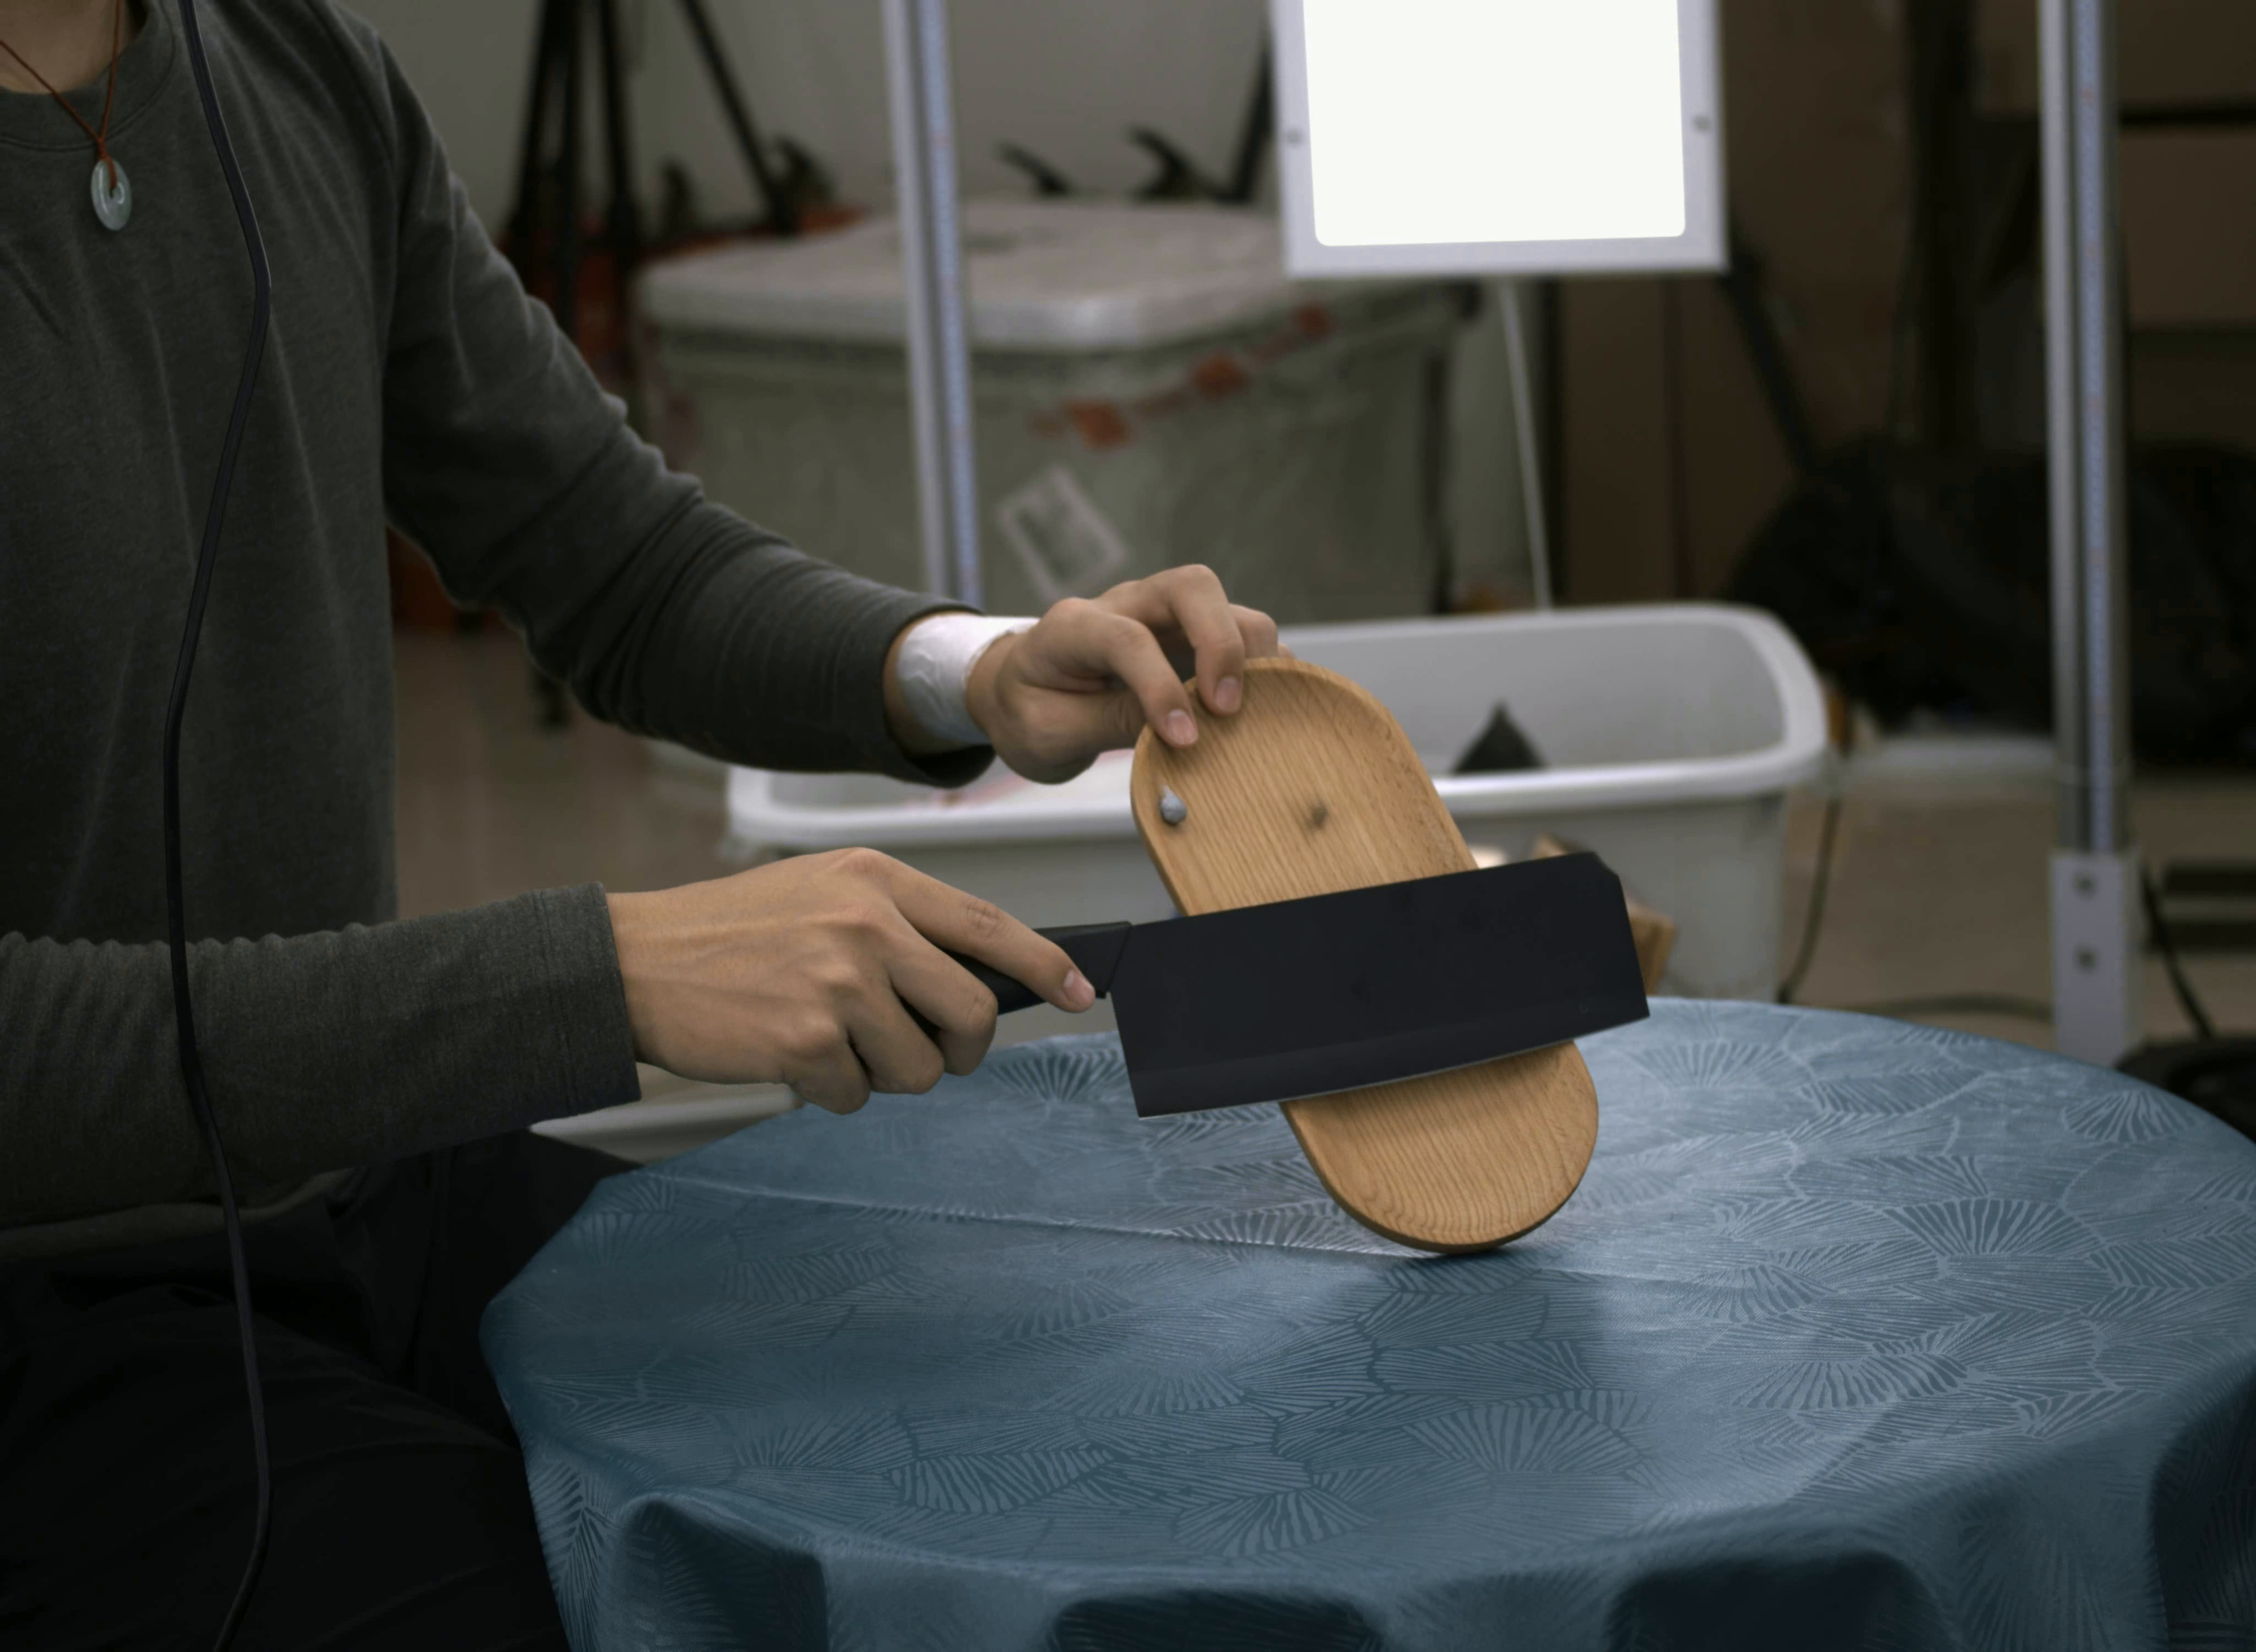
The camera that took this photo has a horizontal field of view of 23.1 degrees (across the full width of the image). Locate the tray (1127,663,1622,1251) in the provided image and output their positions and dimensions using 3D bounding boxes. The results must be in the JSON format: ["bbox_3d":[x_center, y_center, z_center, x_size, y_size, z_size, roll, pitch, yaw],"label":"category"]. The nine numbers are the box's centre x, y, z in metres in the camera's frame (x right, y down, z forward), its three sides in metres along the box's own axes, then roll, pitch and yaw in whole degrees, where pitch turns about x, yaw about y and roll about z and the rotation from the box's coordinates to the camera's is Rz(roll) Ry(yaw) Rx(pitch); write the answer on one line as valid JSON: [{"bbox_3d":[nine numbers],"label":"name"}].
[{"bbox_3d":[0.081,0.043,1.848,0.100,0.233,0.020,-25,-23,-13],"label":"tray"}]

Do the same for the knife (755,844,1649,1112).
[{"bbox_3d":[0.025,0.056,1.814,0.299,0.081,0.021,-5,-15,-9],"label":"knife"}]
